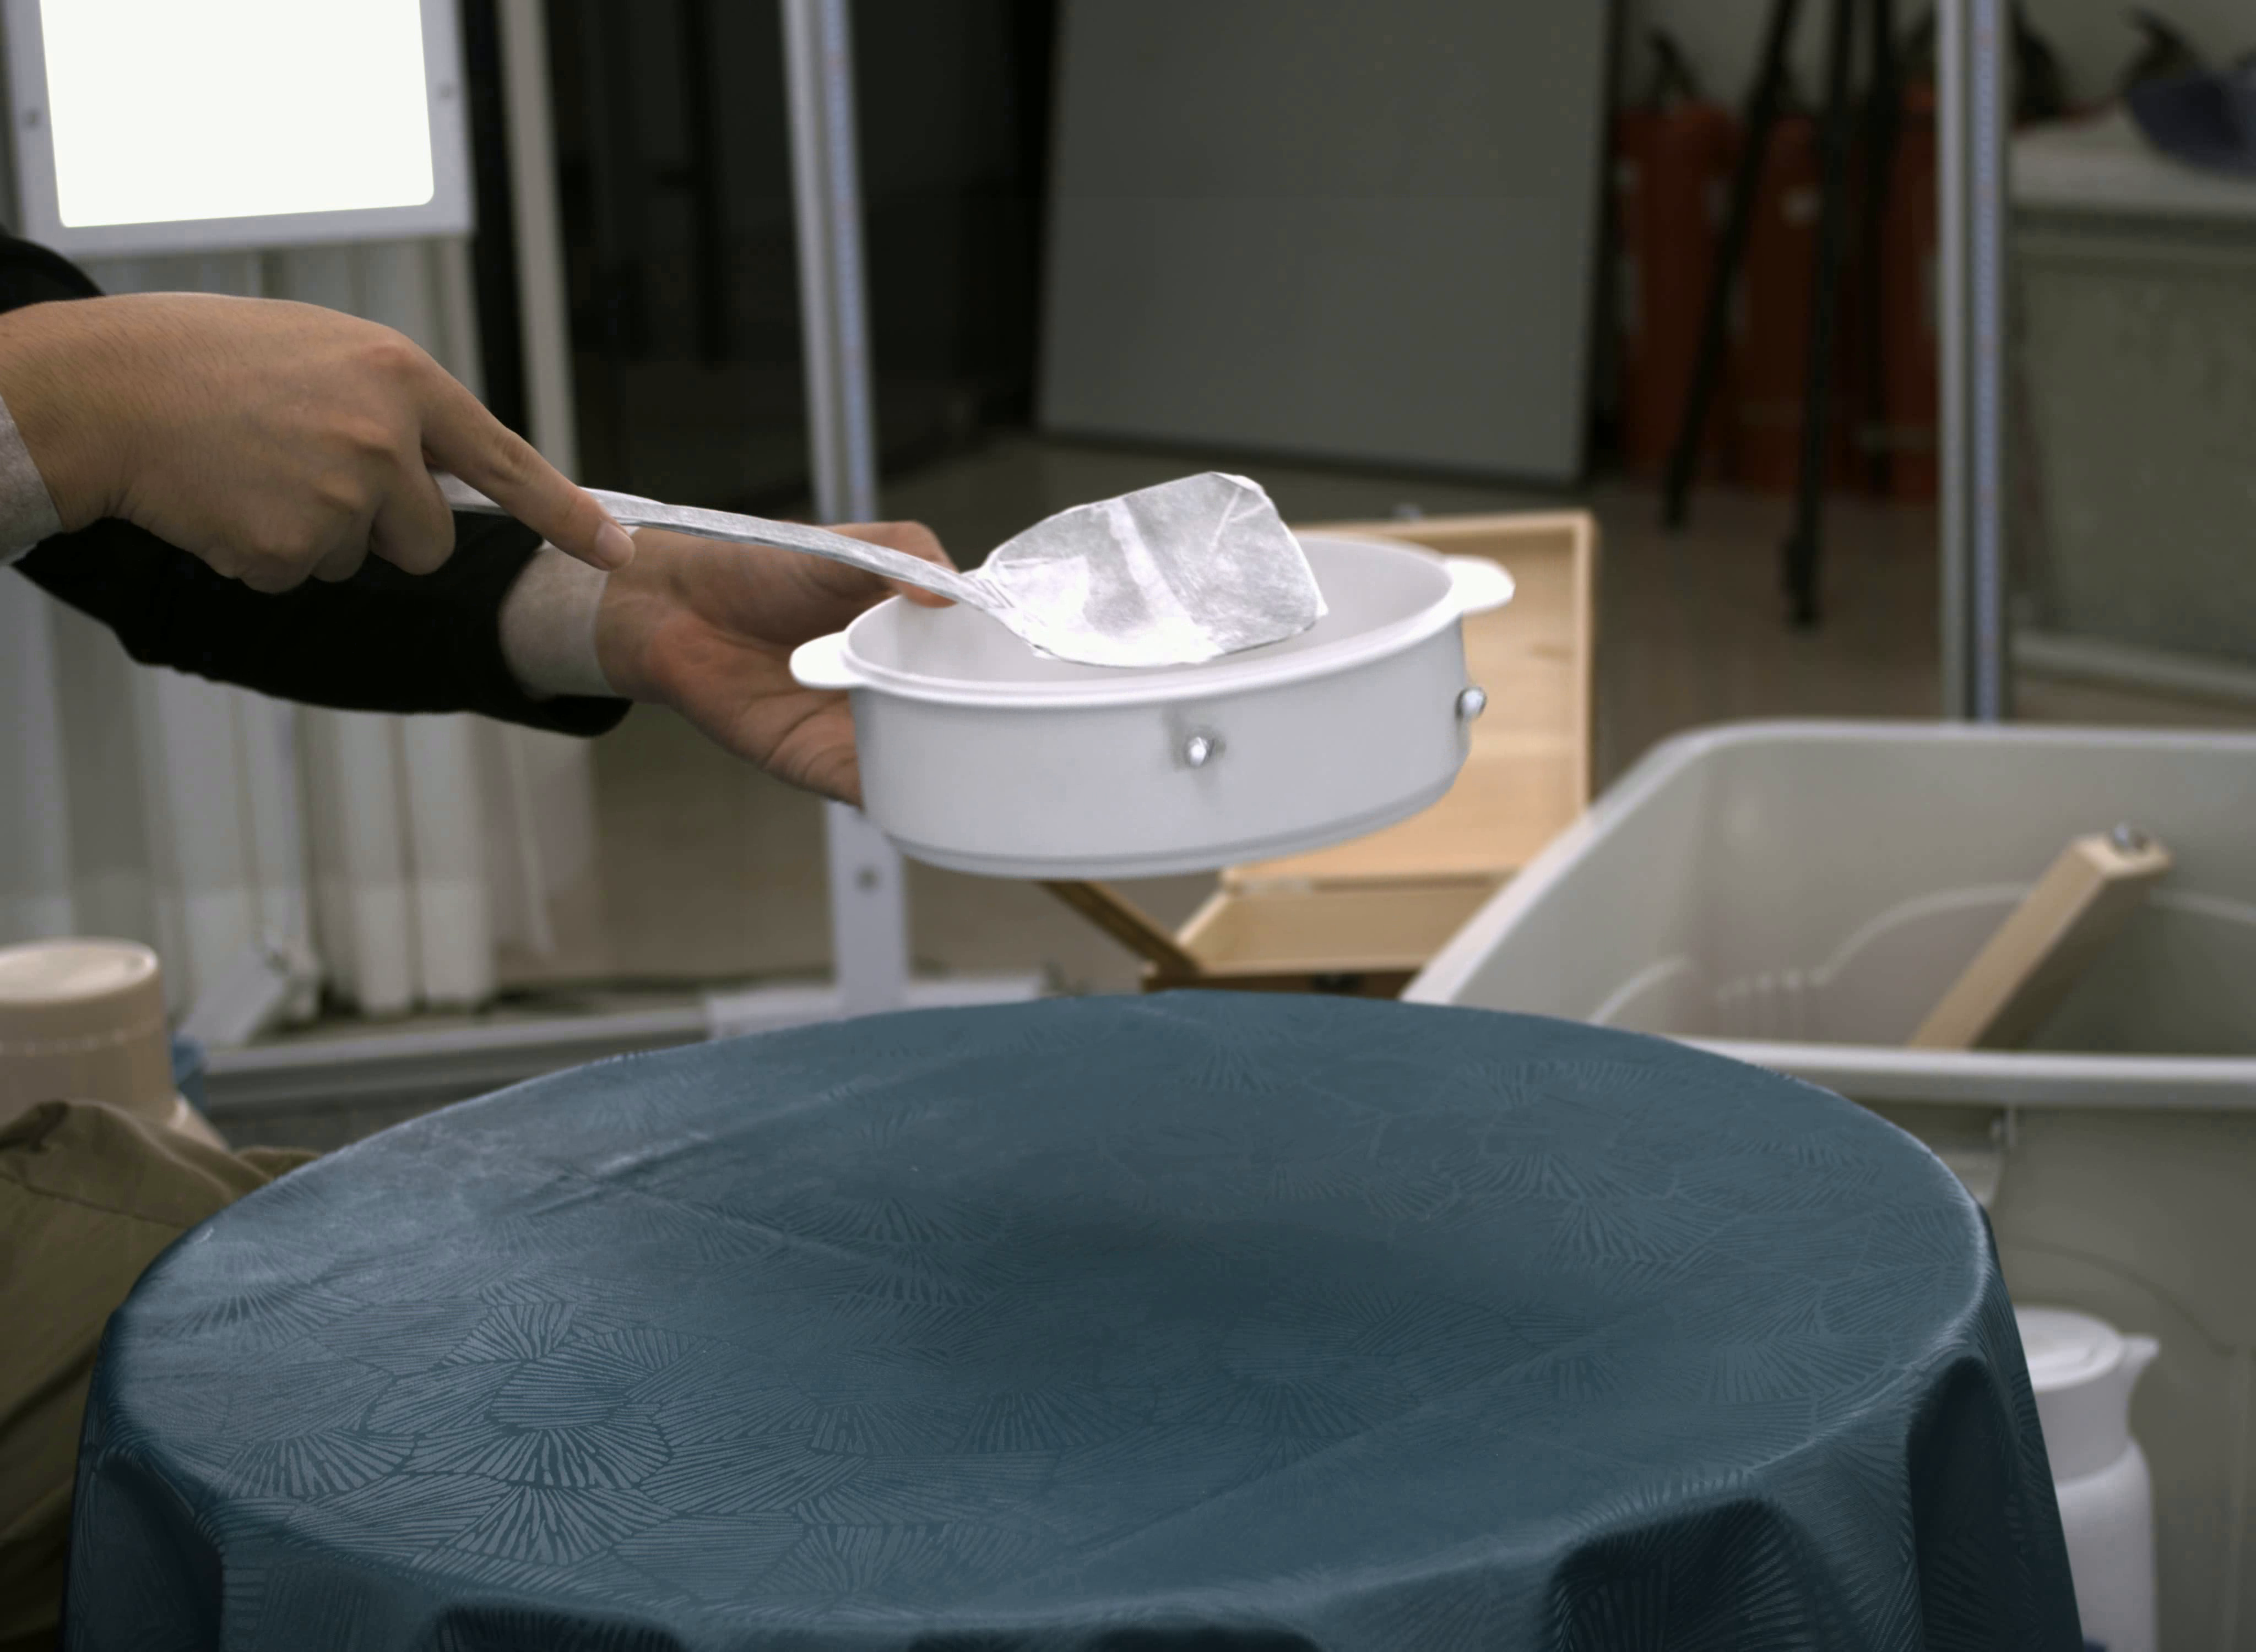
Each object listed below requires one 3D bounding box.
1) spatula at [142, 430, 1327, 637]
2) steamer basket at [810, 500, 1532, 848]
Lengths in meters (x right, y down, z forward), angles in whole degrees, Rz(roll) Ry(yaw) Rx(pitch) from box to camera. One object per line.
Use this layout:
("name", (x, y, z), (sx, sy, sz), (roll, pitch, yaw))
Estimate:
("spatula", (-0.113, -0.097, 1.631), (0.357, 0.045, 0.100), (8, 34, -20))
("steamer basket", (0.017, -0.047, 1.689), (0.227, 0.070, 0.202), (-10, 13, -1))
